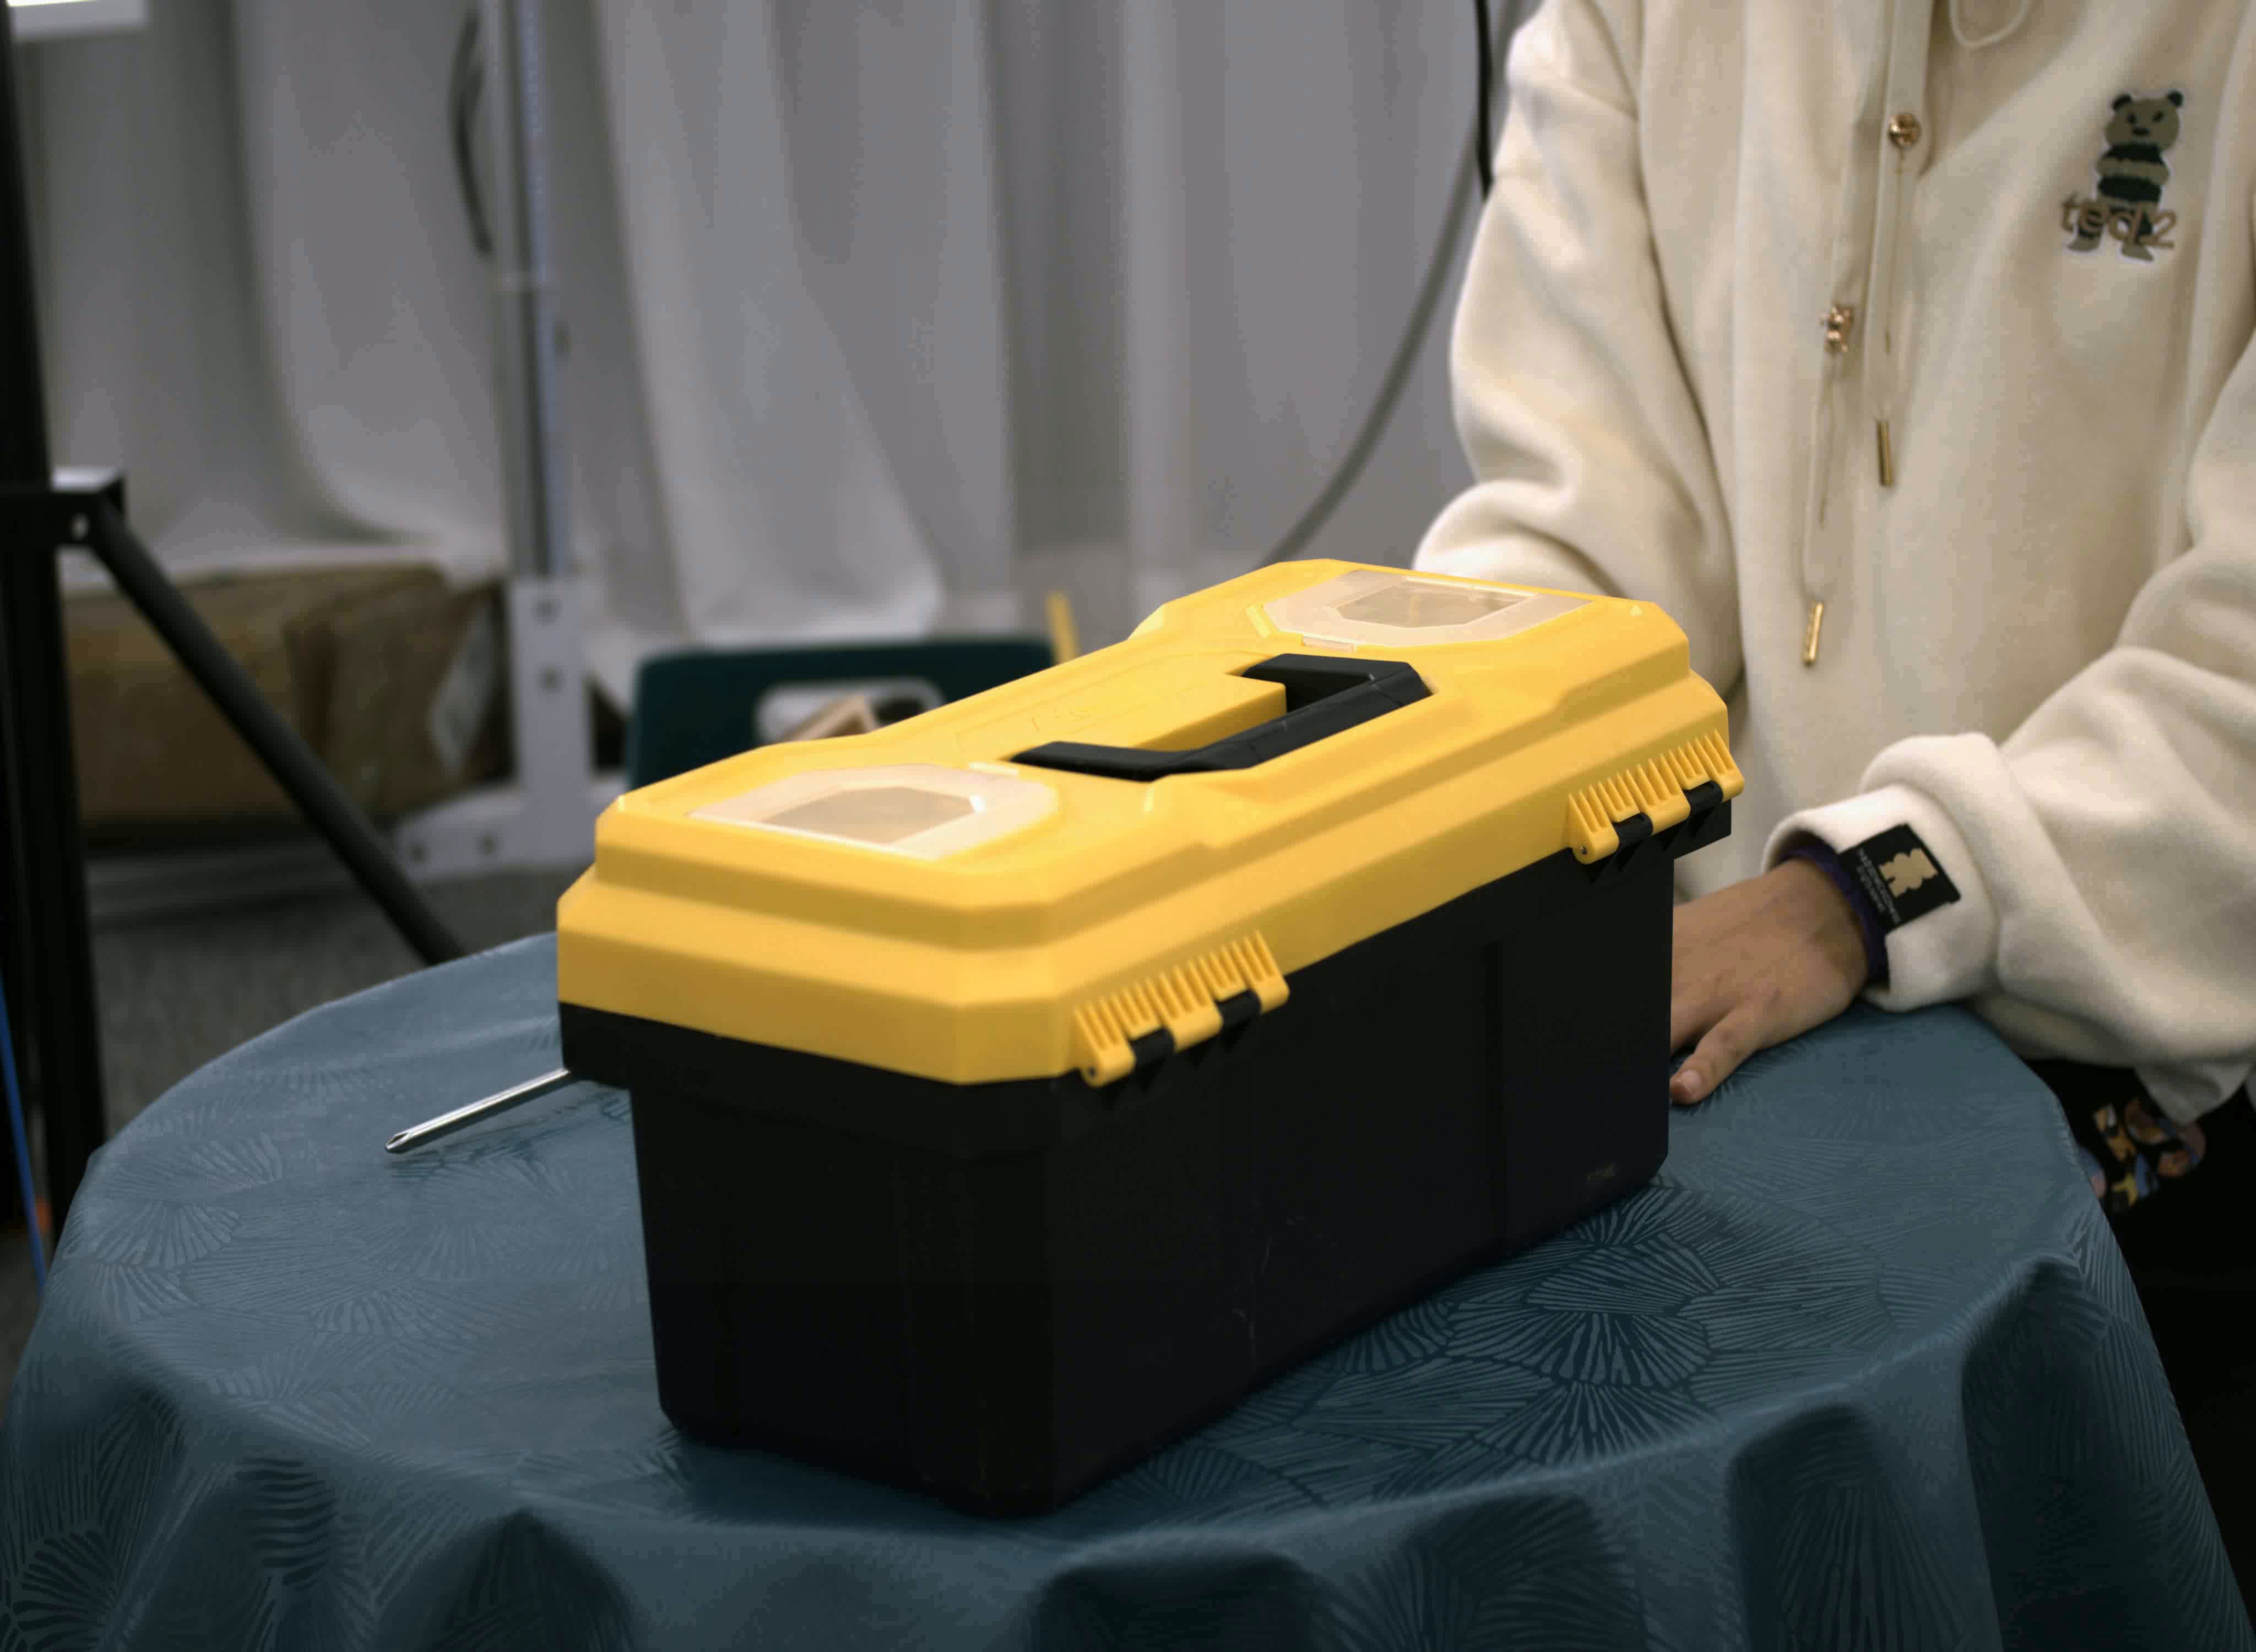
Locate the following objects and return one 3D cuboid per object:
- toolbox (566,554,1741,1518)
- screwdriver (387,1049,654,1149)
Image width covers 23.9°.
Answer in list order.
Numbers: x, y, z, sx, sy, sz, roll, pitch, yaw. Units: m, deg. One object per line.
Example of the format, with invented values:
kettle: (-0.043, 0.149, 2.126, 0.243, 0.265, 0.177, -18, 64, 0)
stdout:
toolbox: (0.015, 0.047, 1.451, 0.185, 0.173, 0.344, 10, 20, 37)
screwdriver: (-0.158, 0.065, 1.676, 0.192, 0.031, 0.032, -19, 22, -41)
